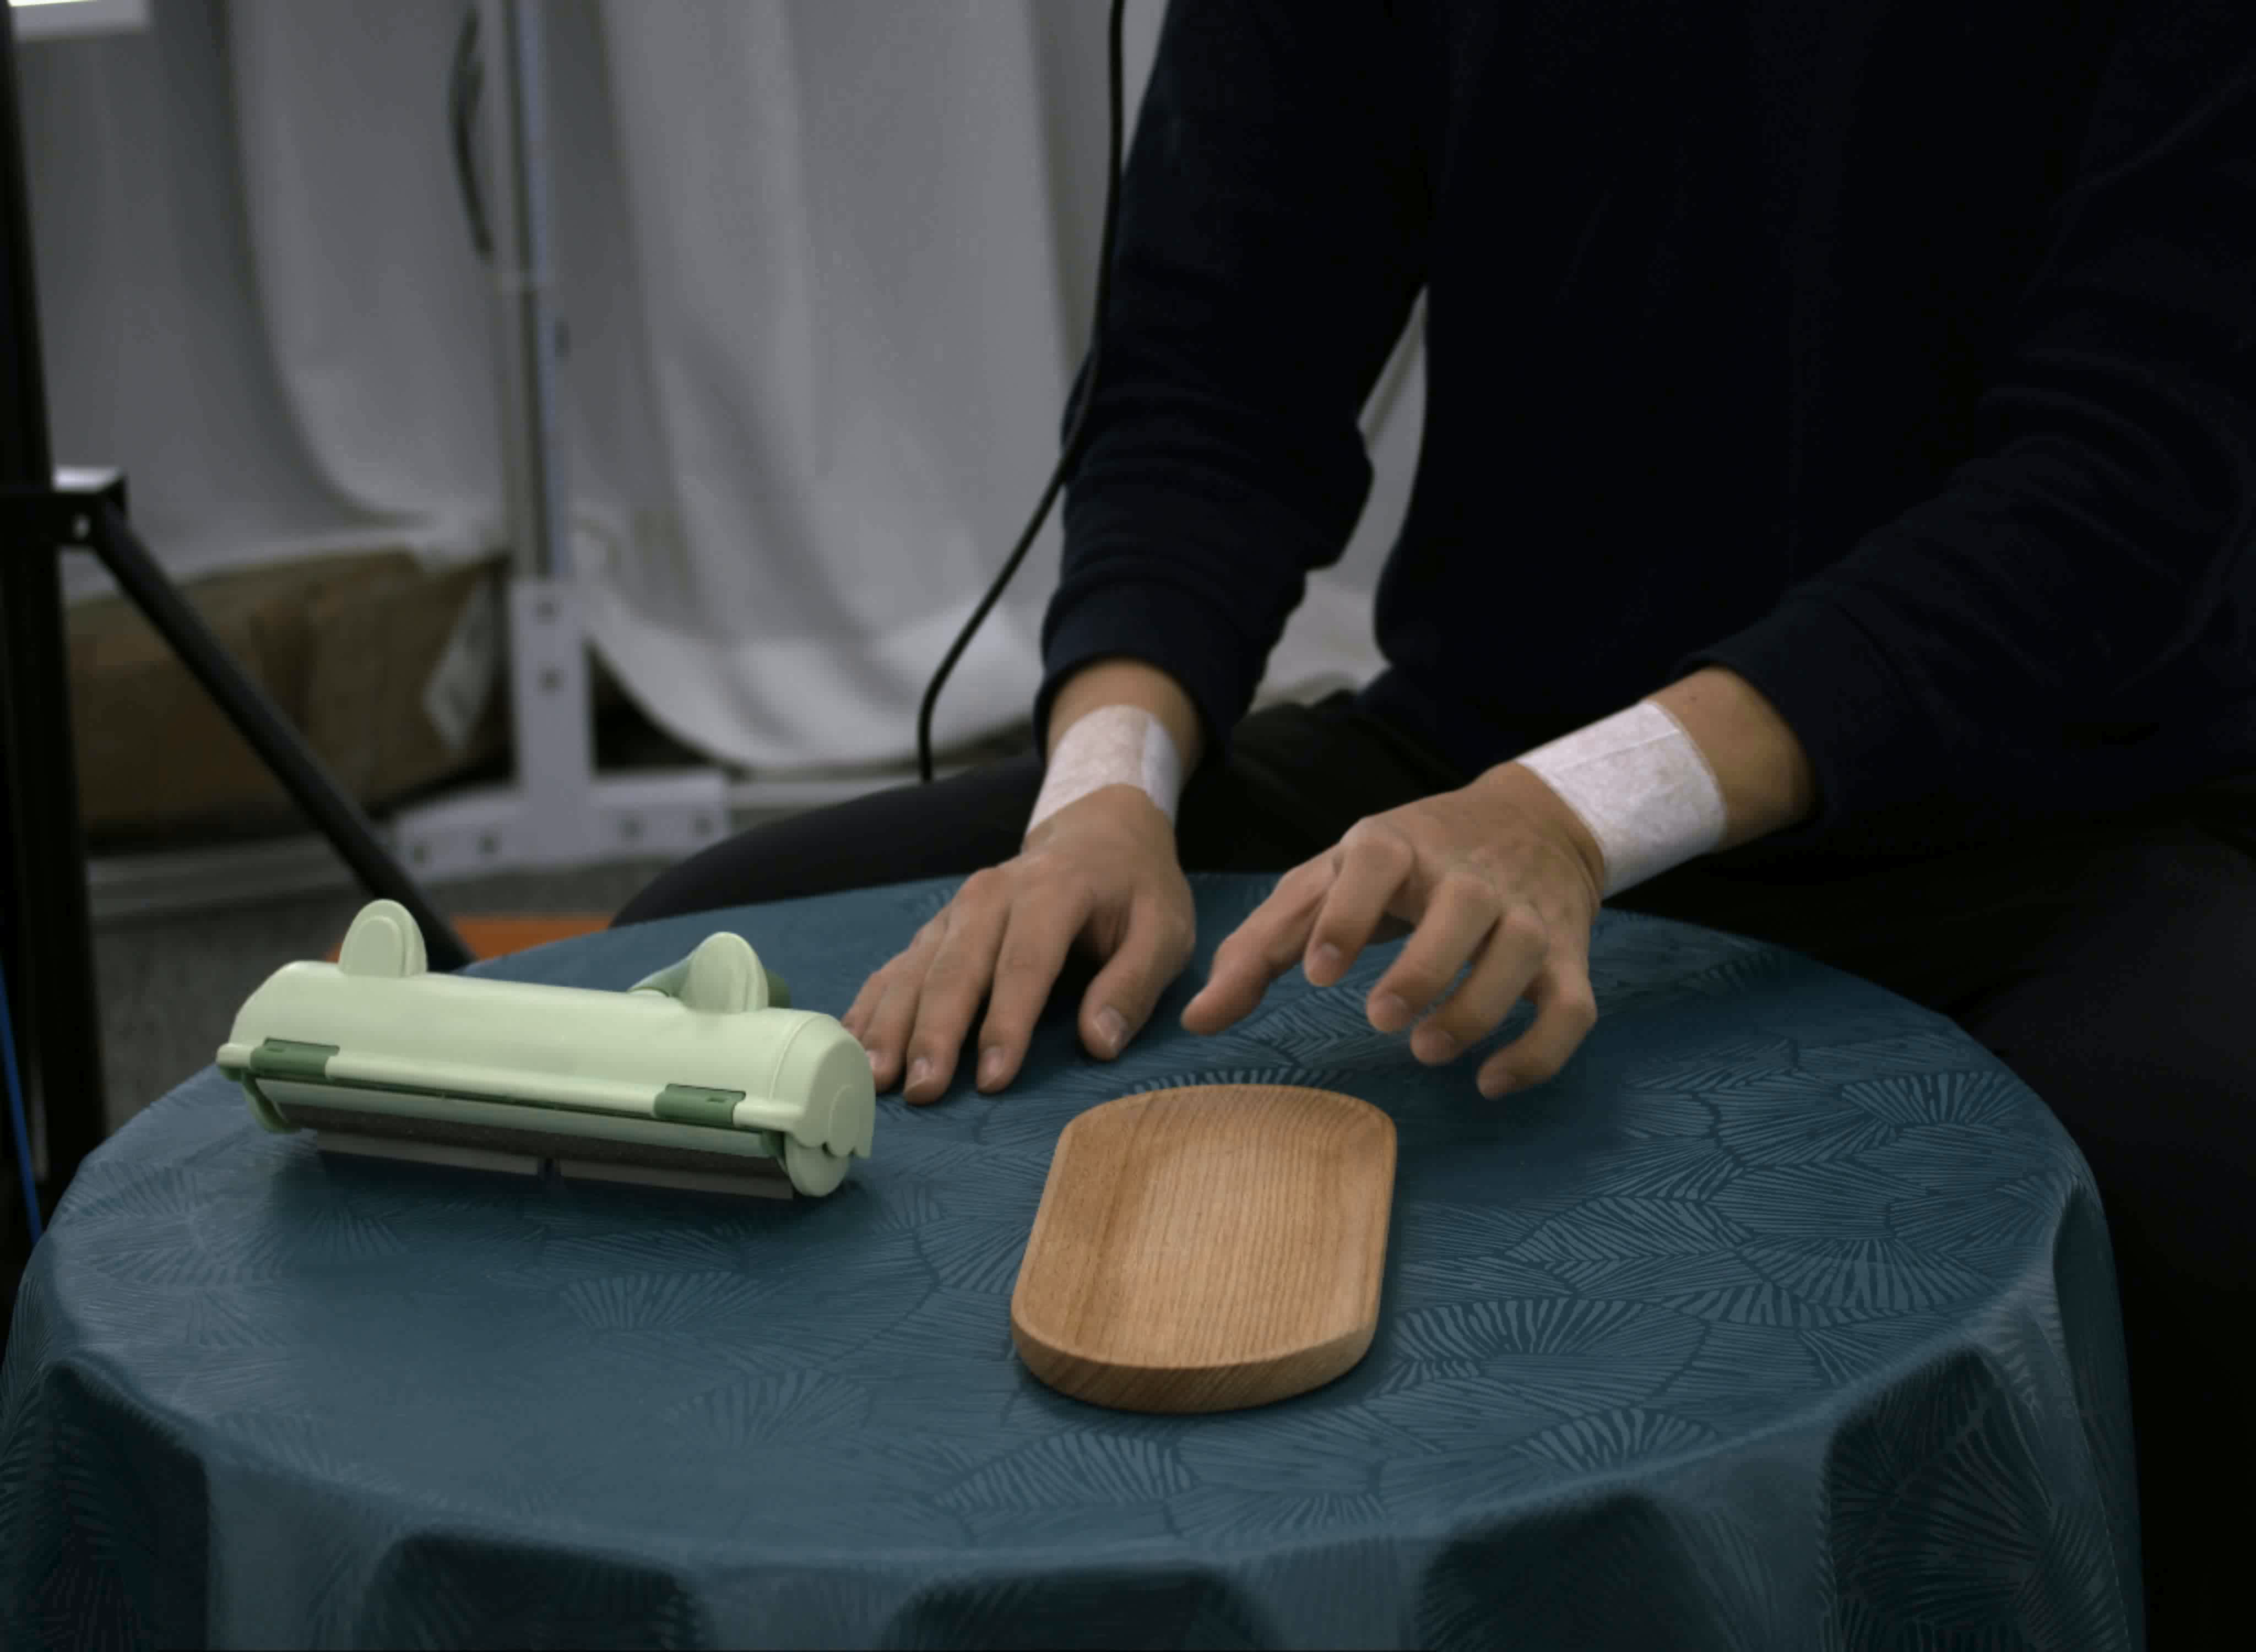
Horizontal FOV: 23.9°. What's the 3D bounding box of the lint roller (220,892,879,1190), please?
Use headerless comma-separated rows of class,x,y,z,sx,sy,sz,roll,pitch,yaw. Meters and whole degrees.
lint roller,-0.152,0.047,1.640,0.201,0.082,0.181,5,23,23

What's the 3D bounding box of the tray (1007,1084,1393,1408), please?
tray,0.023,0.116,1.497,0.101,0.020,0.231,-1,14,5
